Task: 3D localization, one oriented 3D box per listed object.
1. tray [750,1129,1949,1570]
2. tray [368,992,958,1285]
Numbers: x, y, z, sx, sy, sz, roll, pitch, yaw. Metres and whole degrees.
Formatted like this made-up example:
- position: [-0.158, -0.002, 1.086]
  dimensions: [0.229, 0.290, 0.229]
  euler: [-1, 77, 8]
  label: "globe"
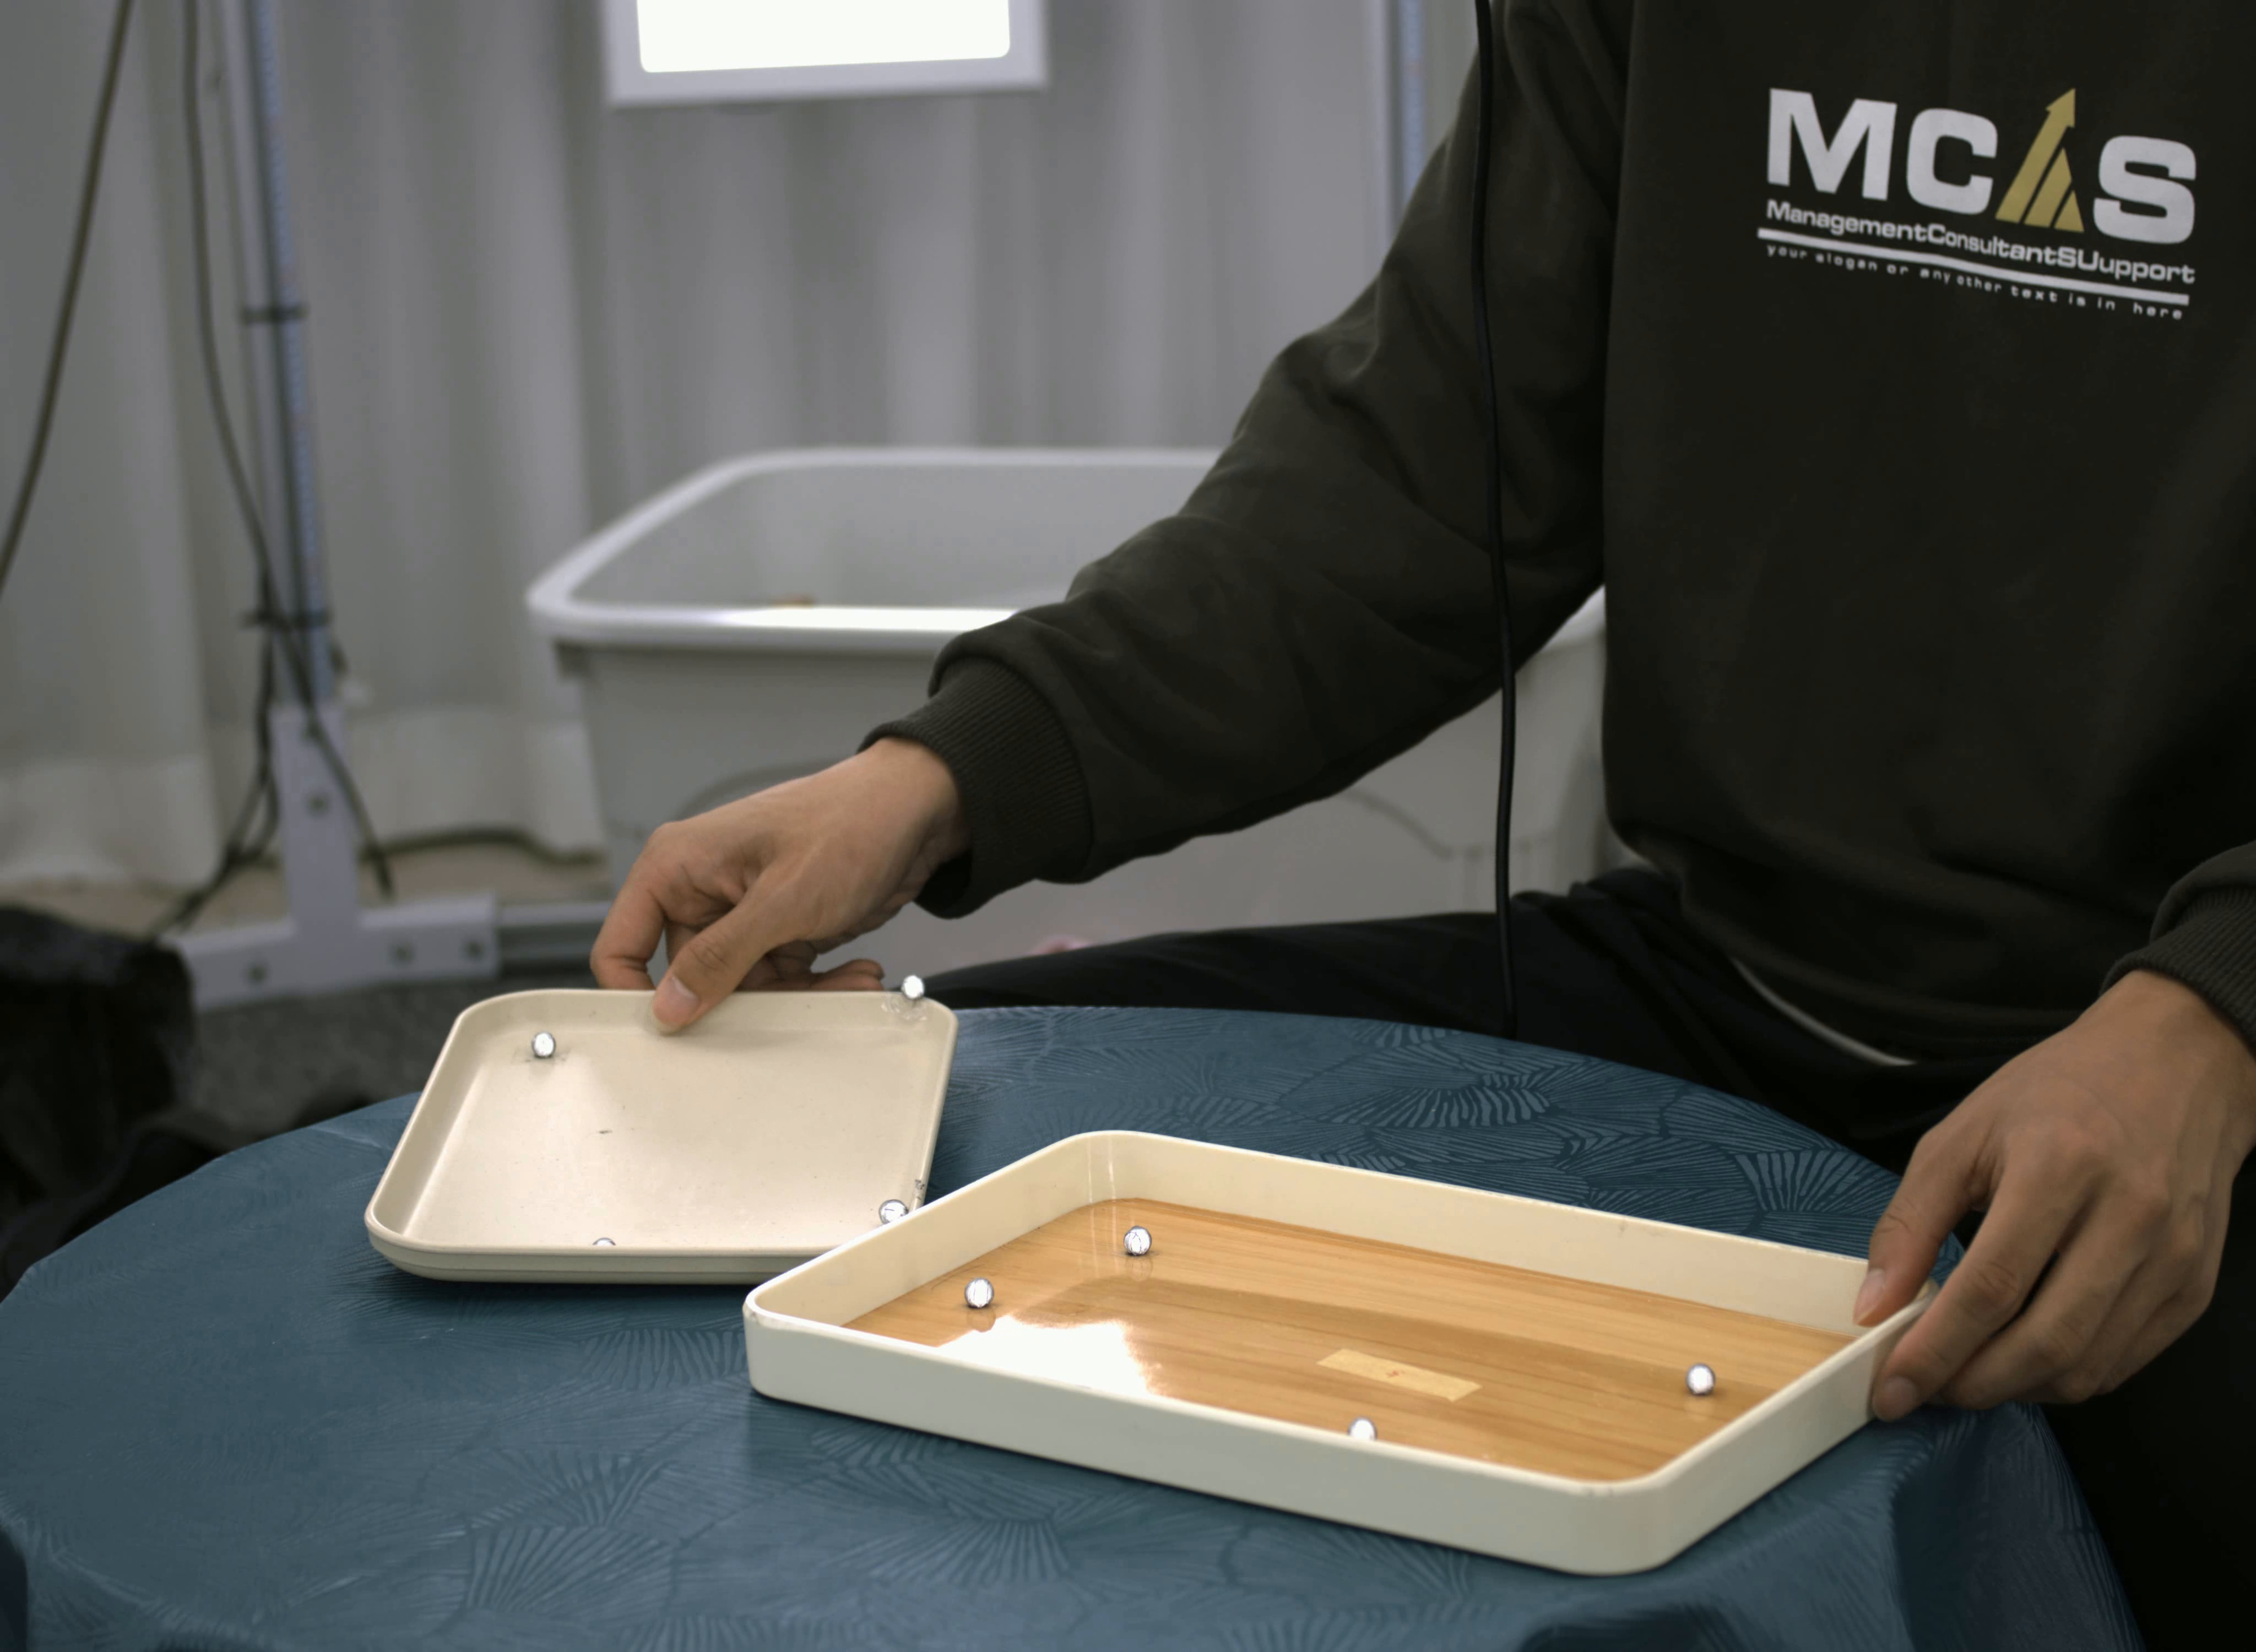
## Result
- position: [0.062, 0.144, 1.548]
  dimensions: [0.301, 0.027, 0.191]
  euler: [8, 18, 34]
  label: "tray"
- position: [-0.144, 0.099, 1.749]
  dimensions: [0.171, 0.017, 0.241]
  euler: [0, 17, 3]
  label: "tray"
